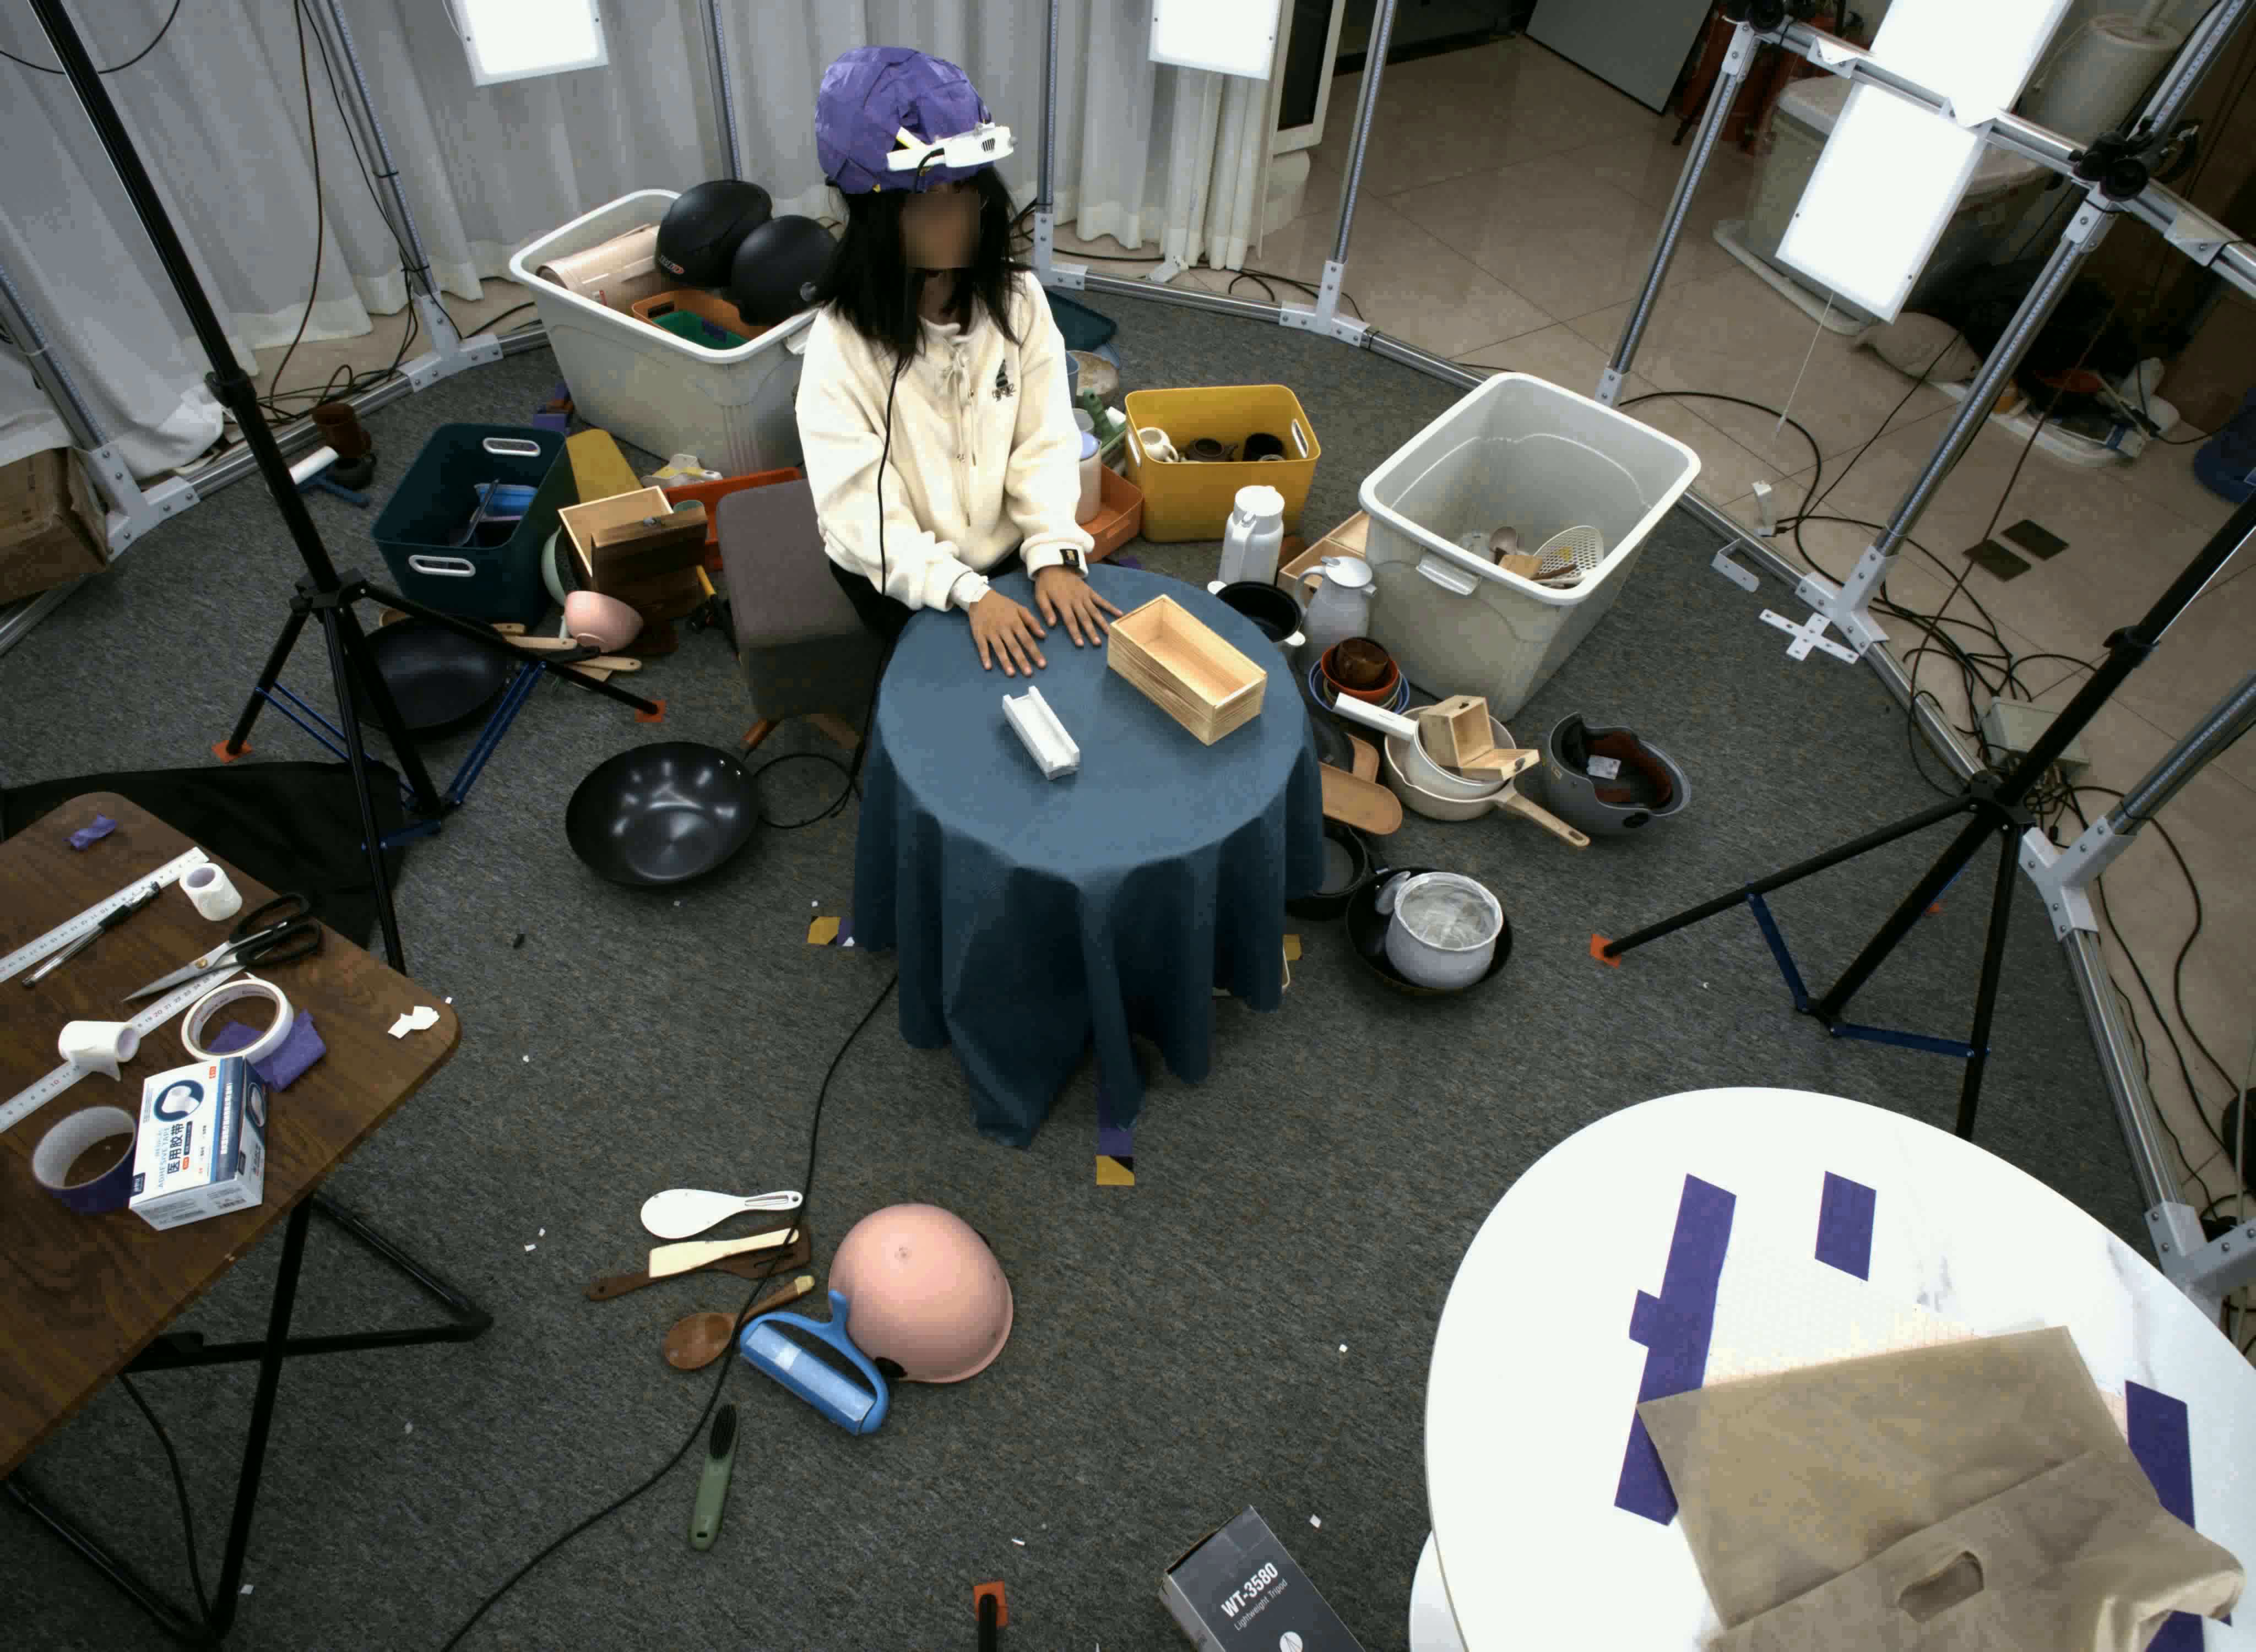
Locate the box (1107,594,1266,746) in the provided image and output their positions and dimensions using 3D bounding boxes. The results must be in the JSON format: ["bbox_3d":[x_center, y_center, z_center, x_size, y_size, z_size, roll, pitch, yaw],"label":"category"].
[{"bbox_3d":[0.080,-0.224,1.819,0.108,0.078,0.215,-33,59,-28],"label":"box"}]

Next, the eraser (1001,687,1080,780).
[{"bbox_3d":[-0.120,-0.126,1.741,0.050,0.045,0.137,-24,56,-20],"label":"eraser"}]
